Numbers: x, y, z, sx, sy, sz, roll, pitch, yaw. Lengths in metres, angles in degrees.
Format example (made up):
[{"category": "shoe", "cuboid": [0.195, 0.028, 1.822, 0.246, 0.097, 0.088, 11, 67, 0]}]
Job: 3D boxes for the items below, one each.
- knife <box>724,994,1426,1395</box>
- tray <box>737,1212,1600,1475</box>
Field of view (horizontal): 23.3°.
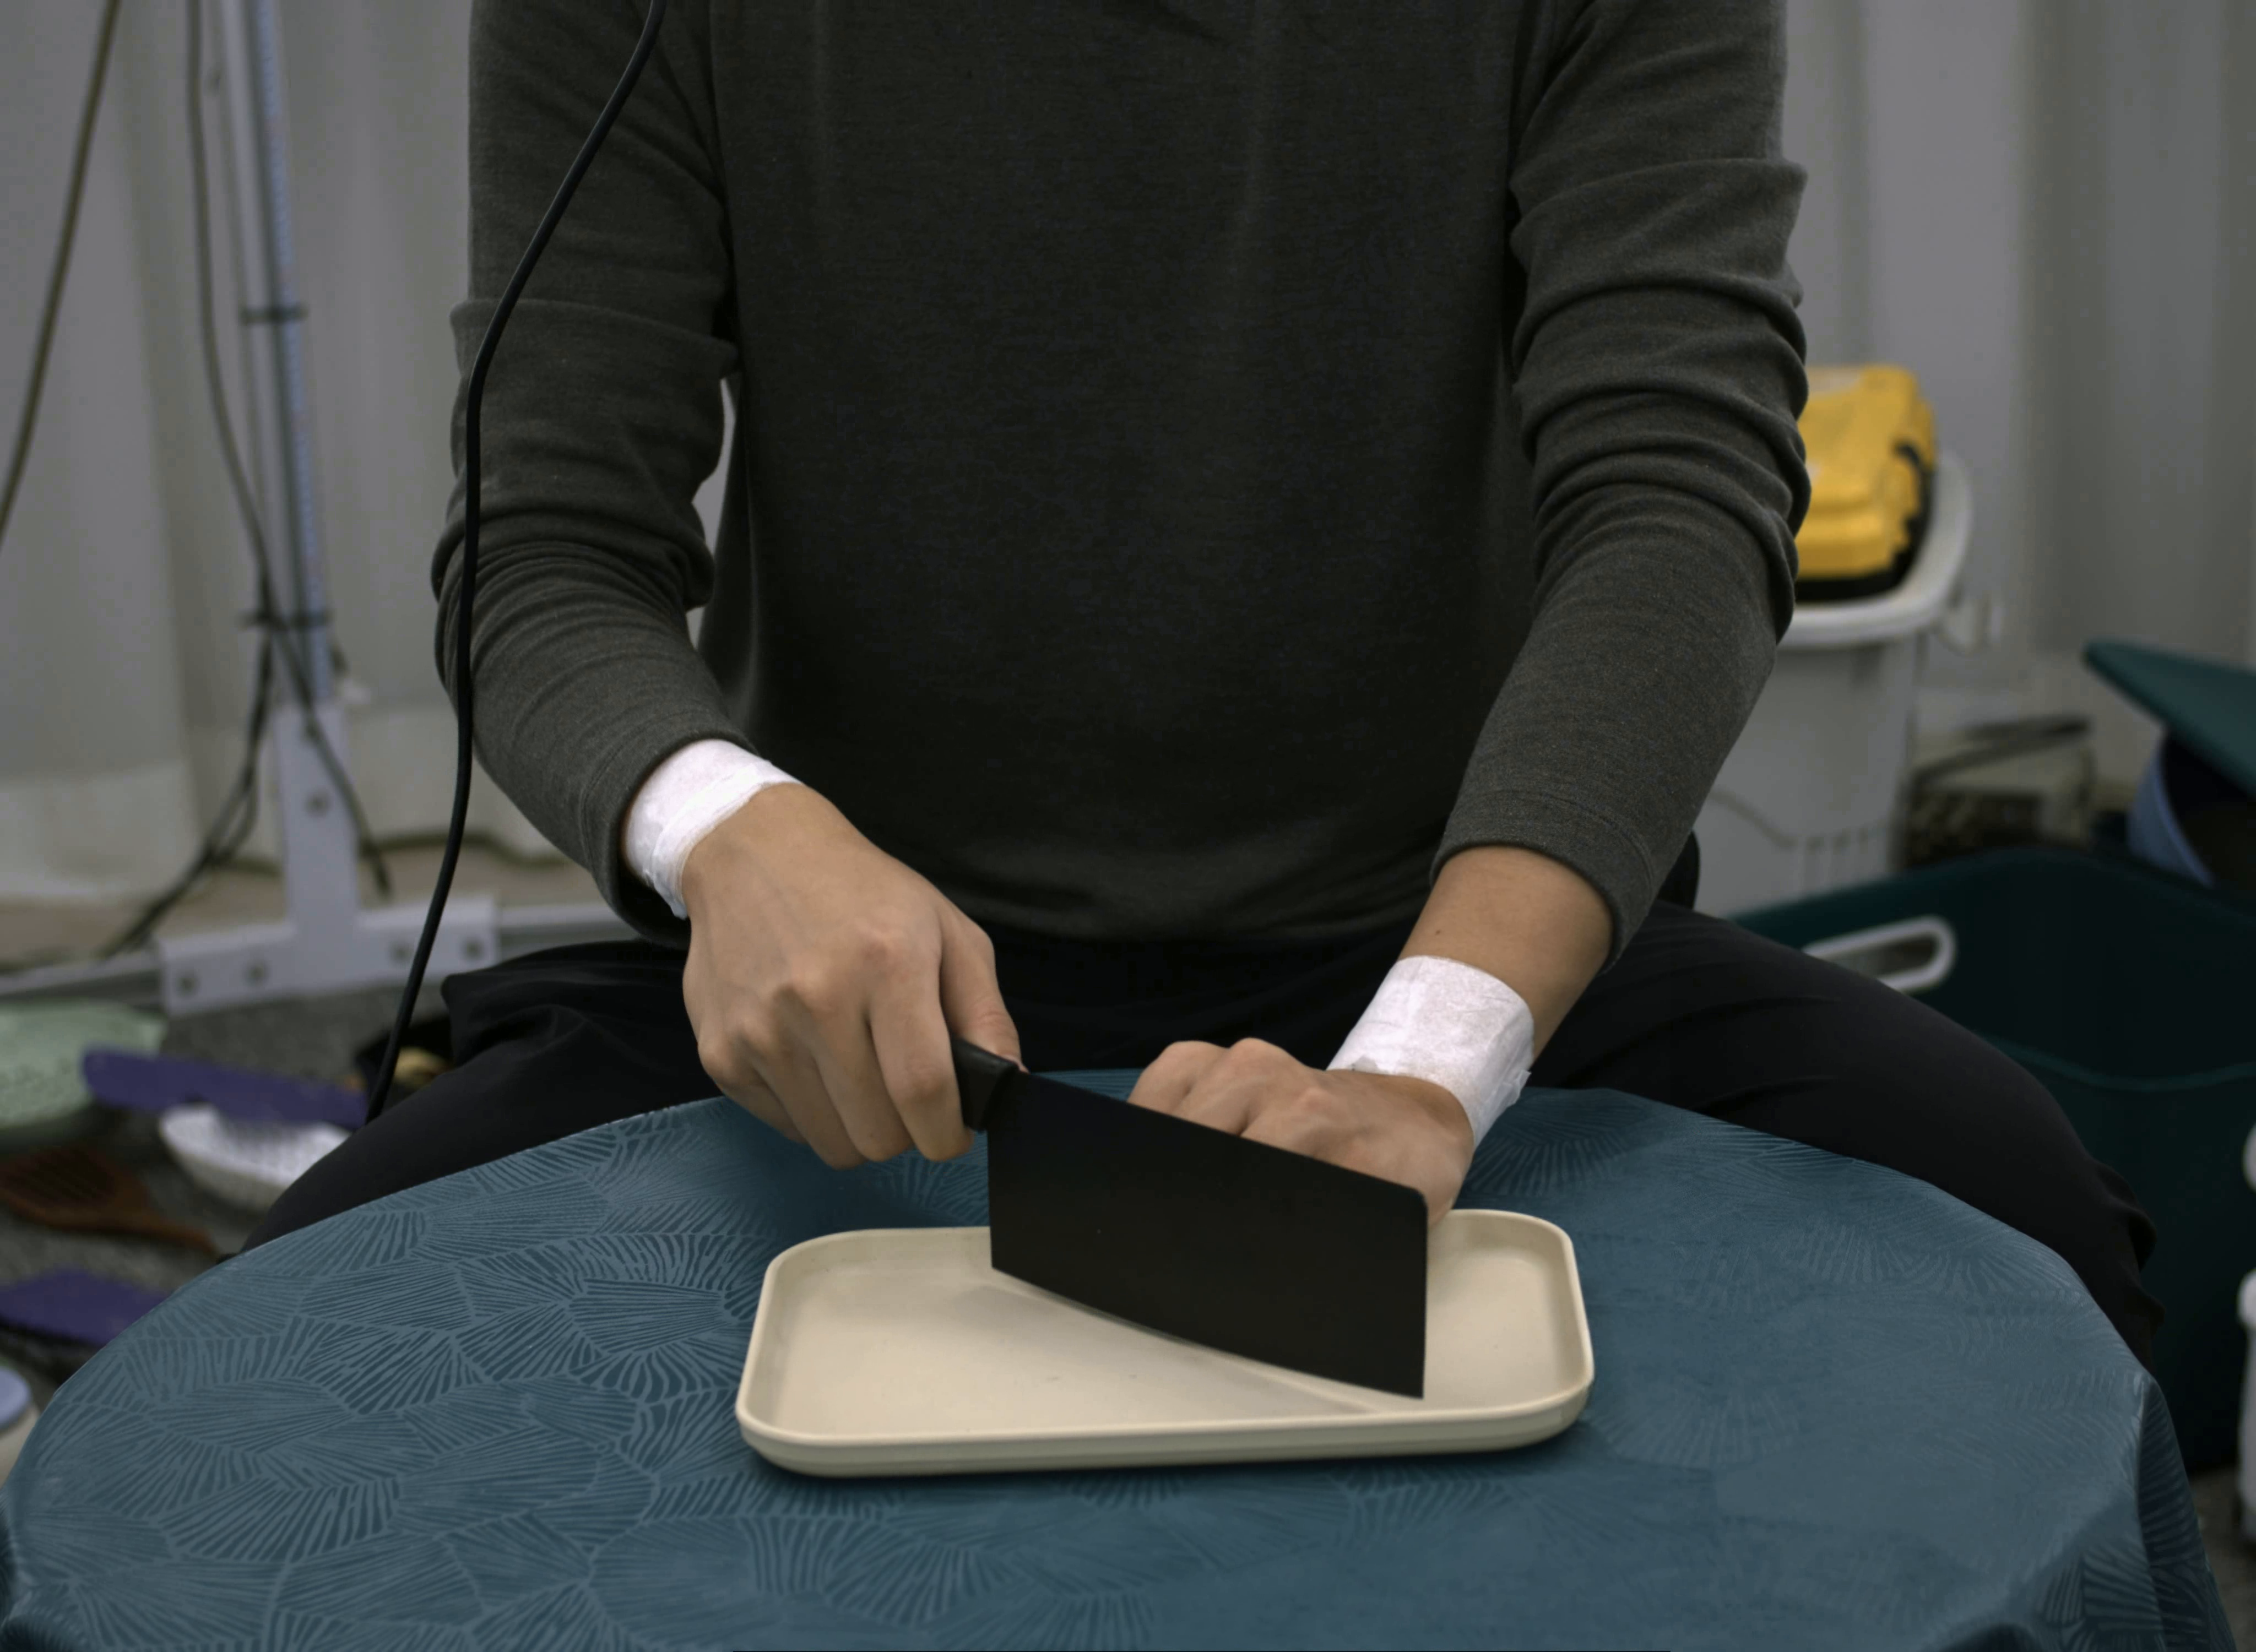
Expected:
[{"category": "knife", "cuboid": [-0.019, 0.102, 1.598, 0.021, 0.080, 0.304, -11, 21, -41]}, {"category": "tray", "cuboid": [0.012, 0.148, 1.556, 0.239, 0.017, 0.172, -2, 14, 2]}]
